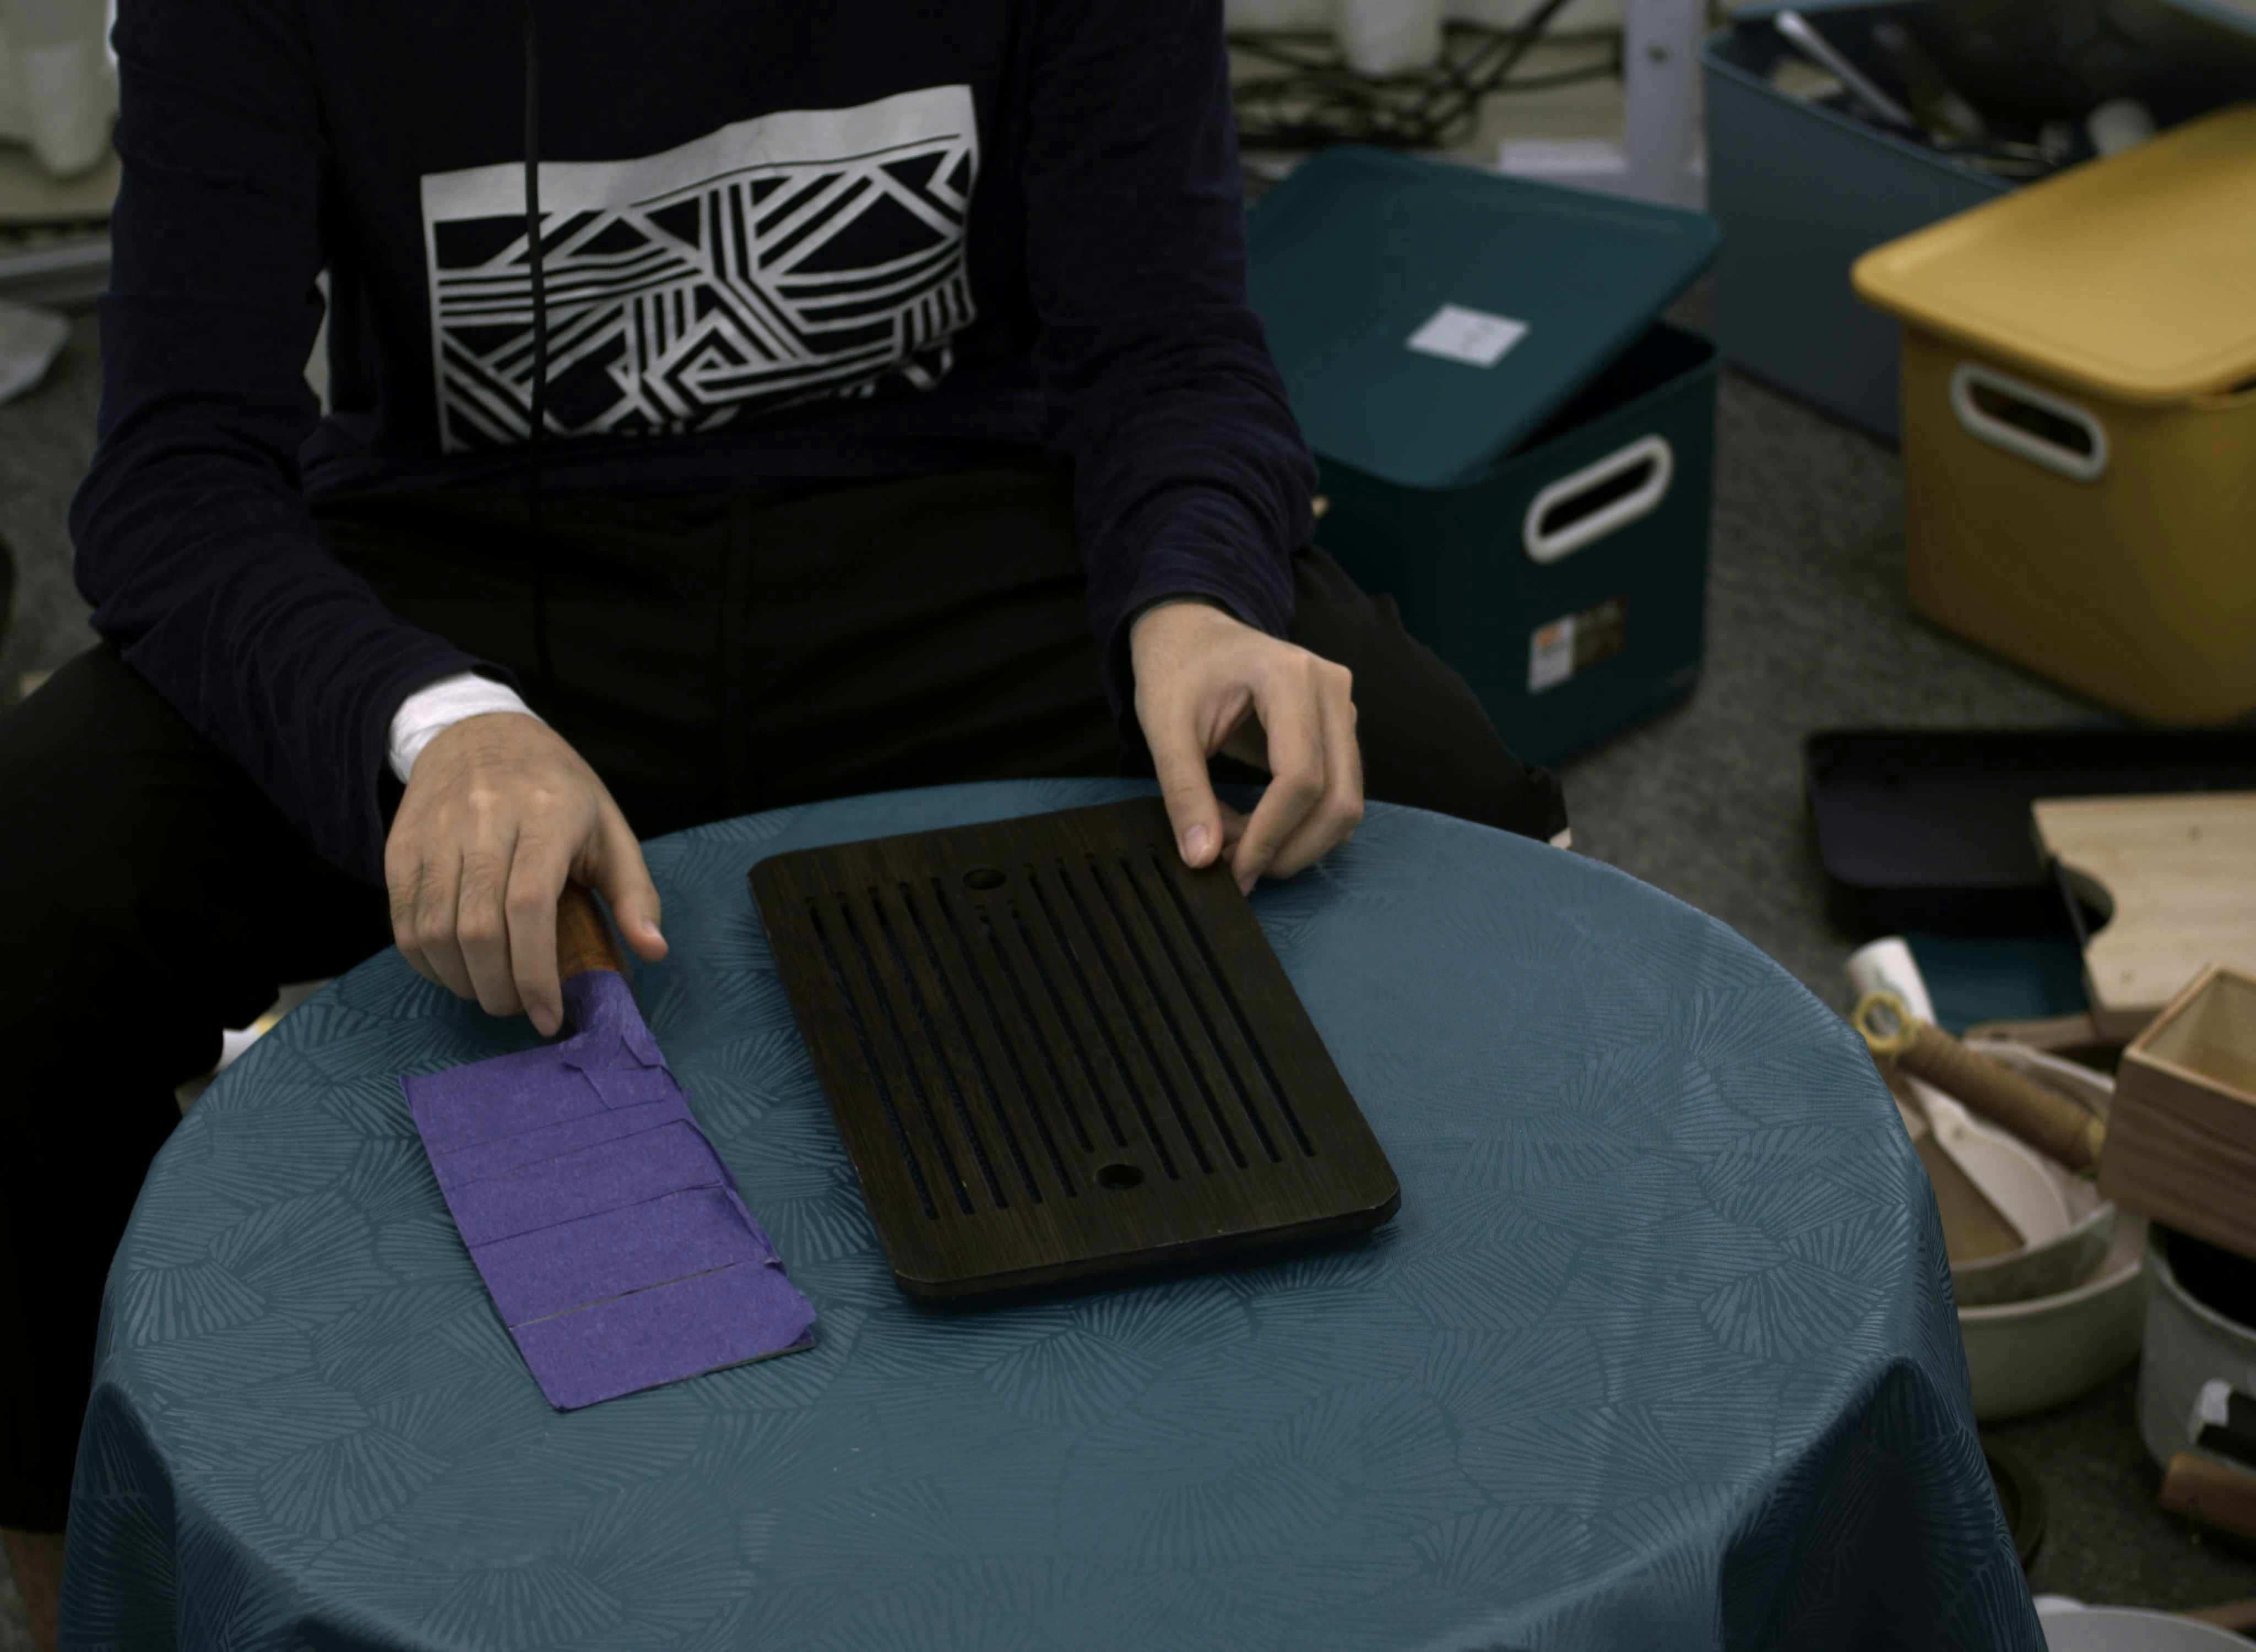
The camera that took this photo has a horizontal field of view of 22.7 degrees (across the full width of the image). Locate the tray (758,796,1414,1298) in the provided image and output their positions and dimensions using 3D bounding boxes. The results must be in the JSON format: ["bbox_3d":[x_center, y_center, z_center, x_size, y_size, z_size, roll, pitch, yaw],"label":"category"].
[{"bbox_3d":[-0.021,0.073,1.938,0.170,0.018,0.309,-8,27,-10],"label":"tray"}]

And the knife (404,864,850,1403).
[{"bbox_3d":[-0.190,0.099,1.894,0.104,0.032,0.318,-12,29,-17],"label":"knife"}]
